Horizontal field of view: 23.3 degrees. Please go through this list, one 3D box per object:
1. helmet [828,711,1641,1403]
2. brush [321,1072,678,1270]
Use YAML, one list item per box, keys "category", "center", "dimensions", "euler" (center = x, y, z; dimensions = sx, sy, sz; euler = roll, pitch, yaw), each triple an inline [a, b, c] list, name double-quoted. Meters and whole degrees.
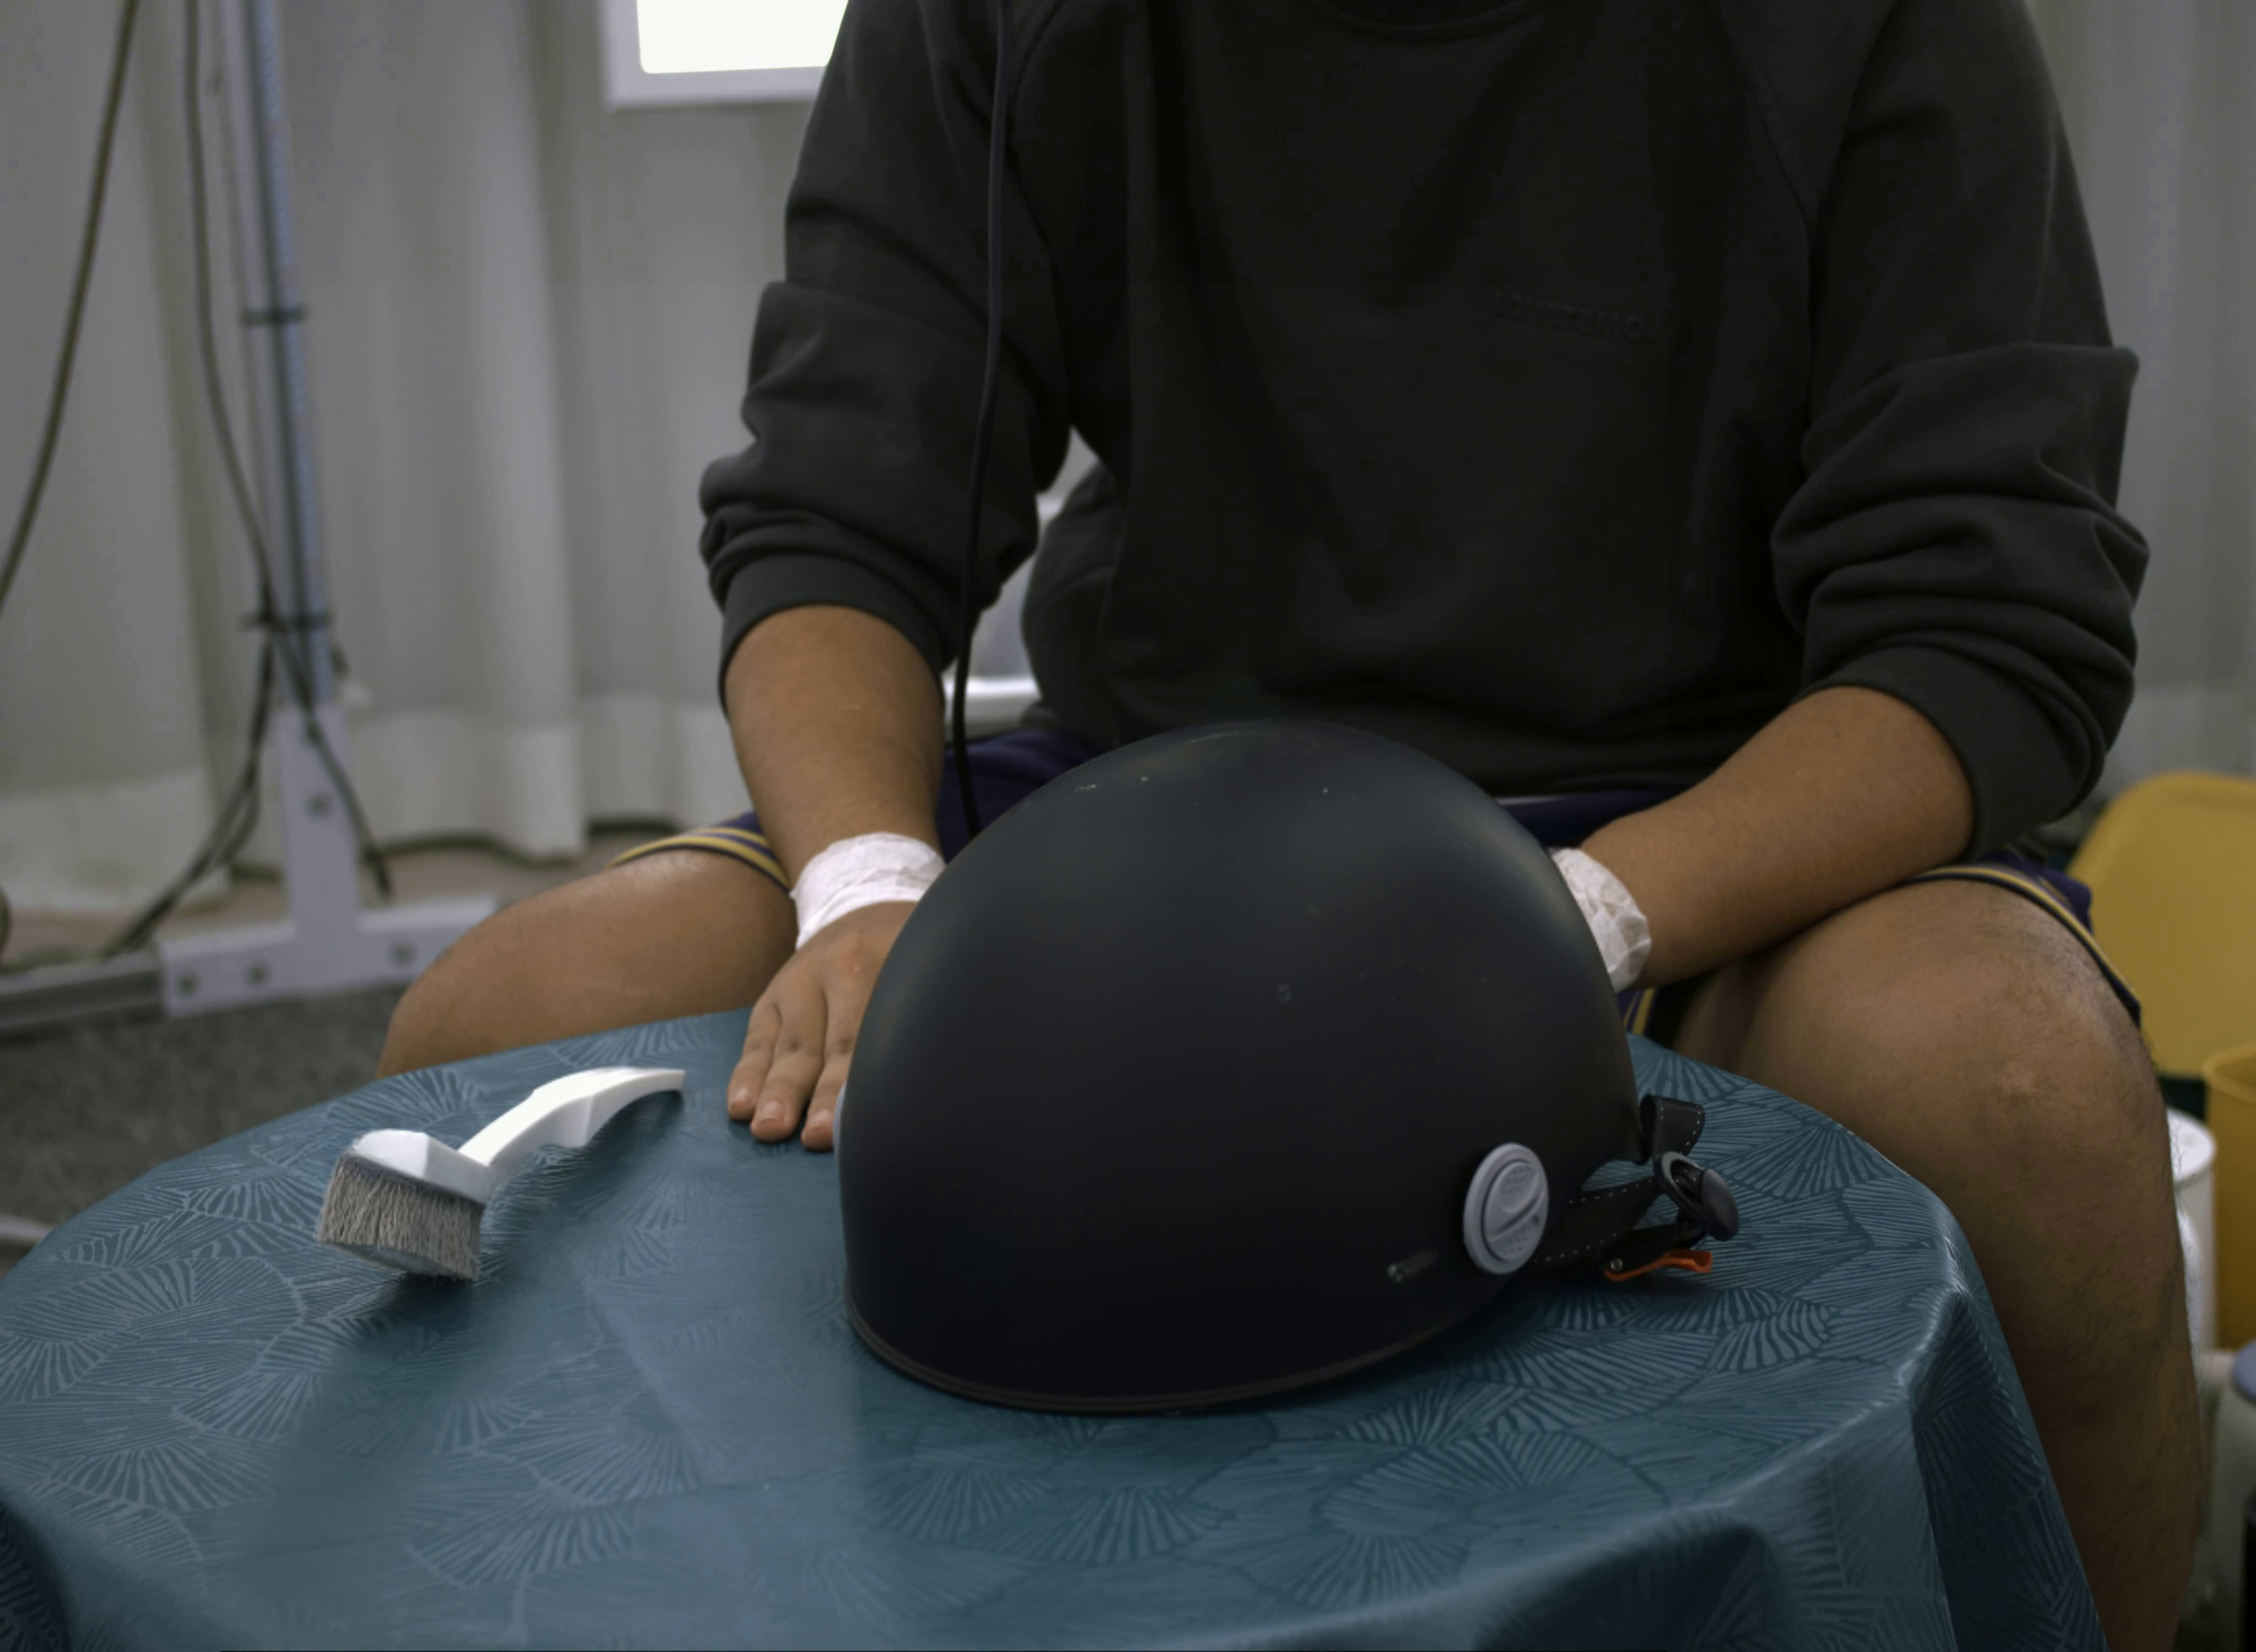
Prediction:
- category: "helmet"
  center: [0.028, 0.056, 1.629]
  dimensions: [0.230, 0.166, 0.273]
  euler: [4, 18, 32]
- category: "brush"
  center: [-0.193, 0.109, 1.732]
  dimensions: [0.034, 0.050, 0.243]
  euler: [1, 2, 16]
